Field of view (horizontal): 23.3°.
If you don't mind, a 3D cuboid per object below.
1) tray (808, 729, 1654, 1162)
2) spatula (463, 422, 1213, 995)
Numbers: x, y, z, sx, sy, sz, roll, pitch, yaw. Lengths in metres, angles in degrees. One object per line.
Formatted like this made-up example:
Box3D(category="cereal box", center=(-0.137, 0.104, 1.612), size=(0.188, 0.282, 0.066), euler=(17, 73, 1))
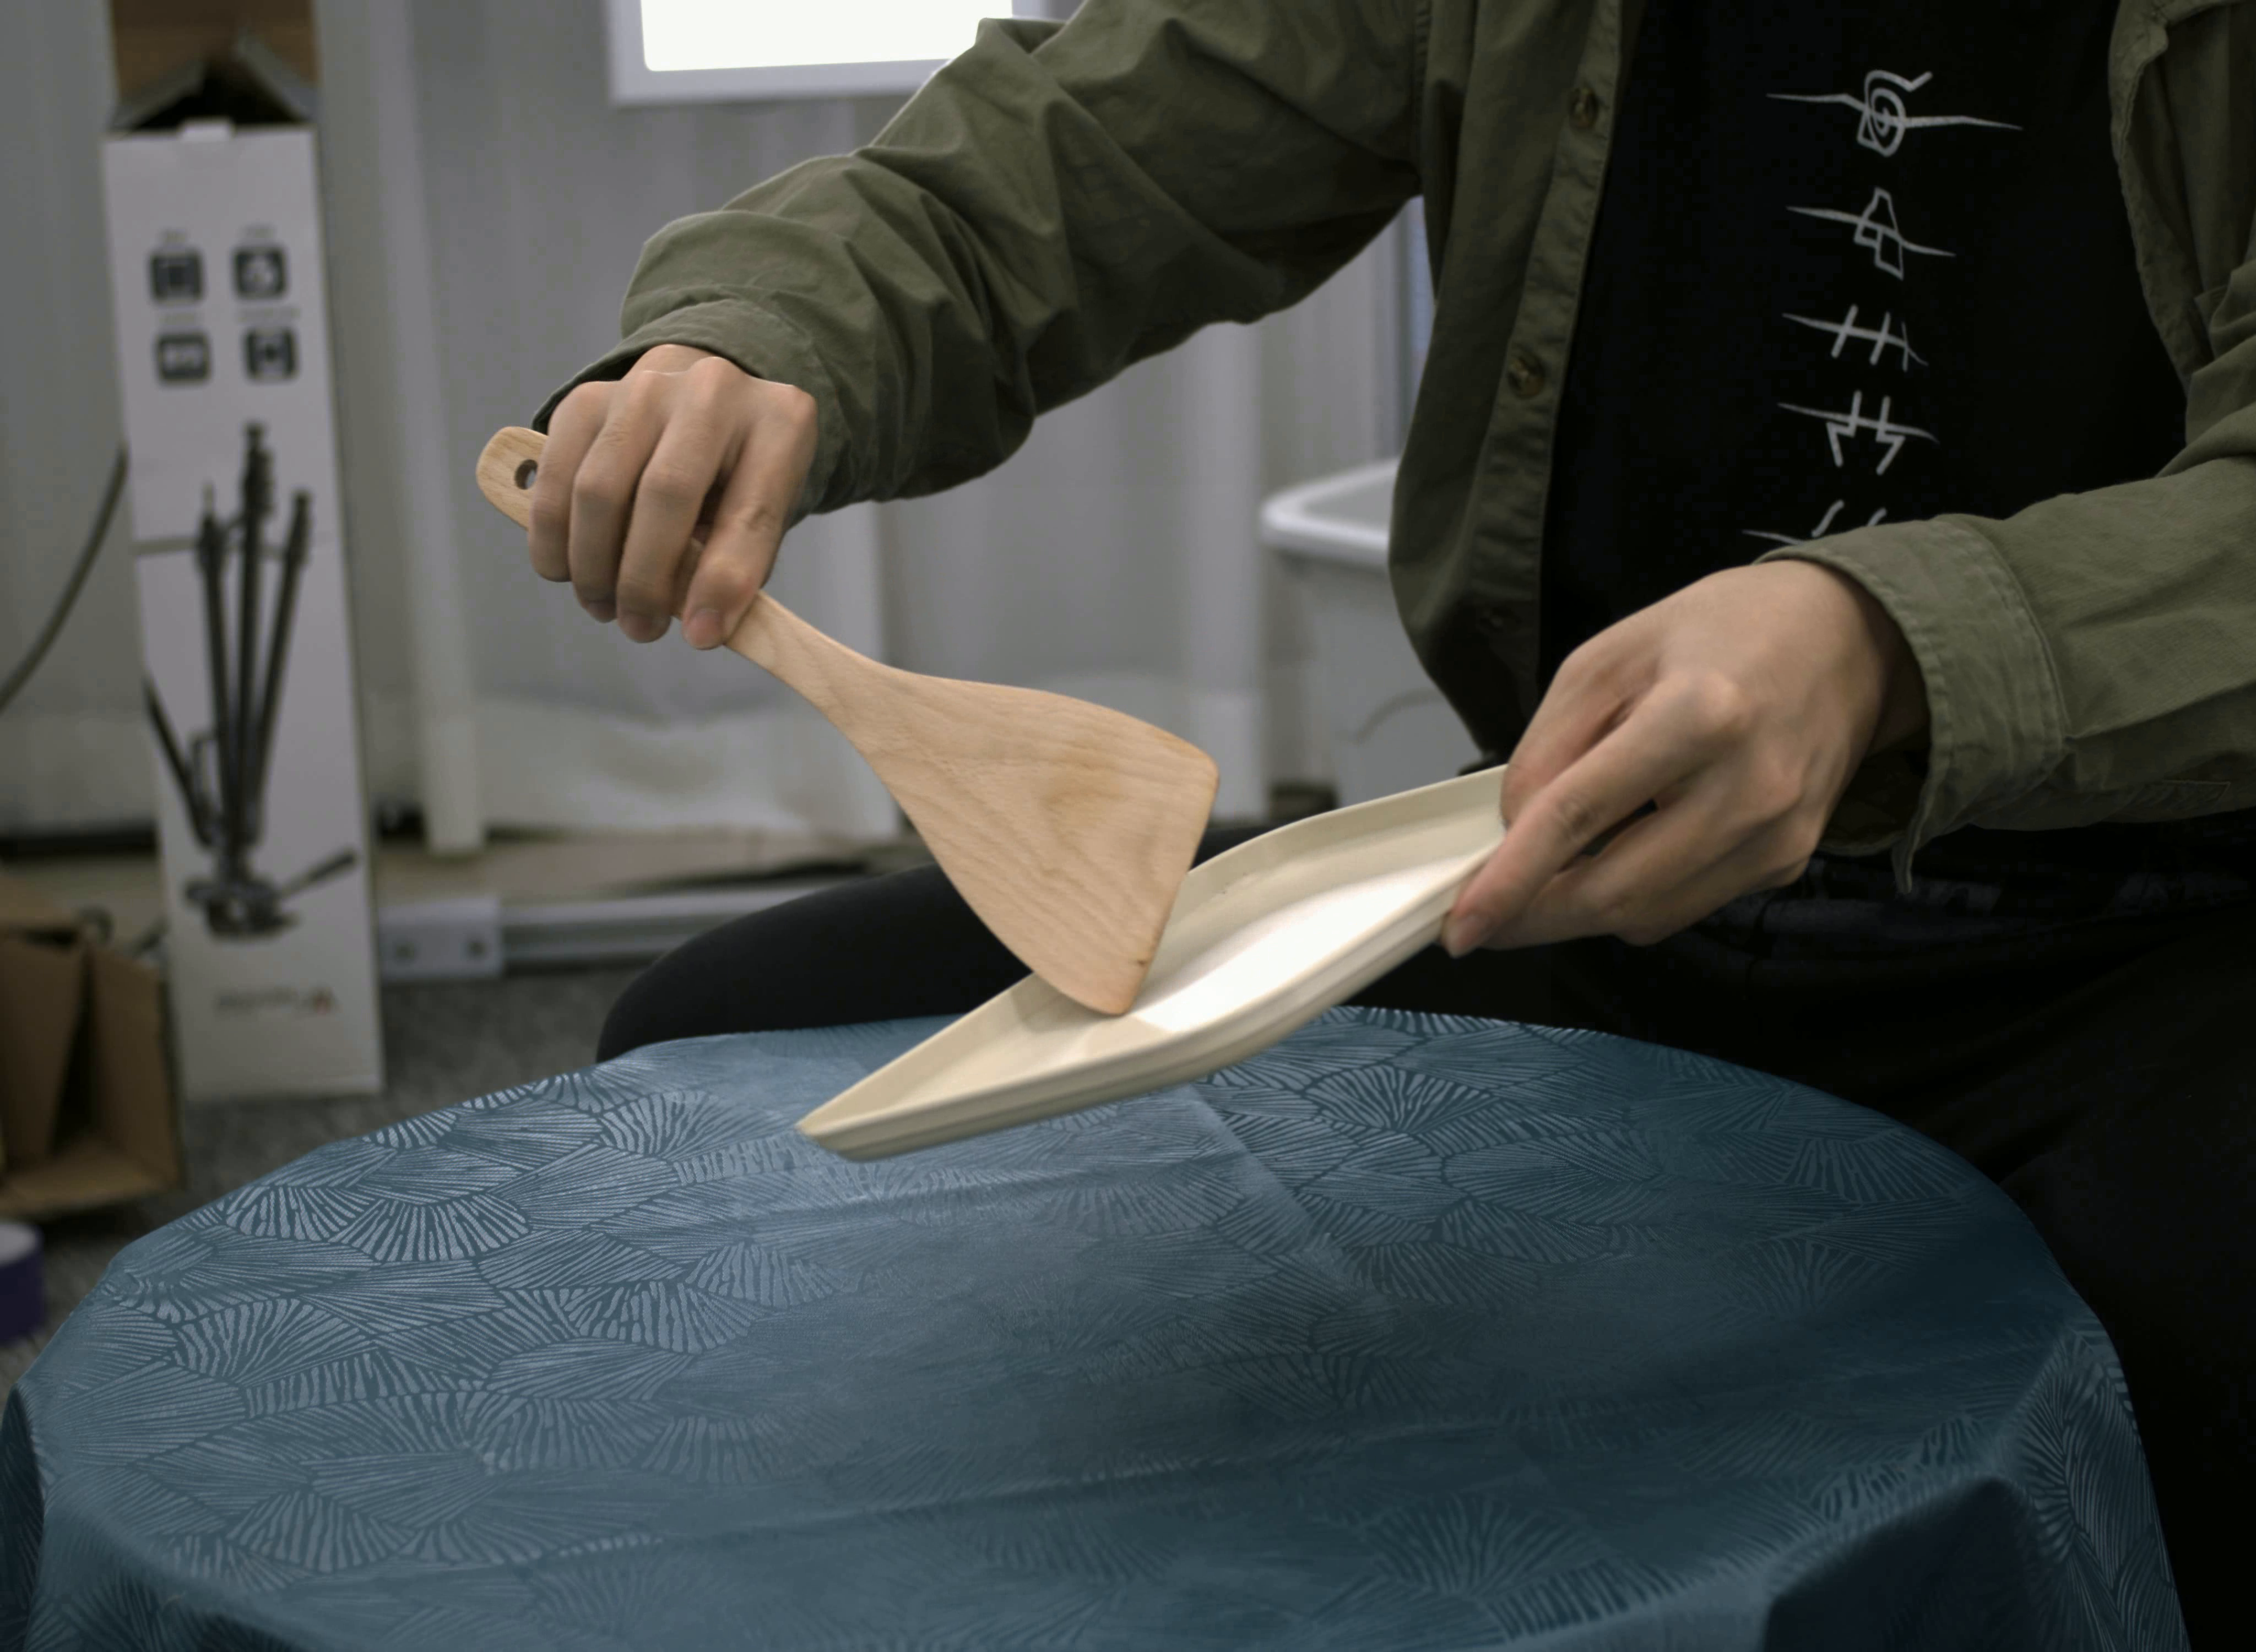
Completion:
Box3D(category="tray", center=(0.033, 0.034, 1.513), size=(0.171, 0.017, 0.240), euler=(-16, 10, 41))
Box3D(category="spatula", center=(-0.095, -0.052, 1.626), size=(0.331, 0.080, 0.016), euler=(32, 4, 36))
